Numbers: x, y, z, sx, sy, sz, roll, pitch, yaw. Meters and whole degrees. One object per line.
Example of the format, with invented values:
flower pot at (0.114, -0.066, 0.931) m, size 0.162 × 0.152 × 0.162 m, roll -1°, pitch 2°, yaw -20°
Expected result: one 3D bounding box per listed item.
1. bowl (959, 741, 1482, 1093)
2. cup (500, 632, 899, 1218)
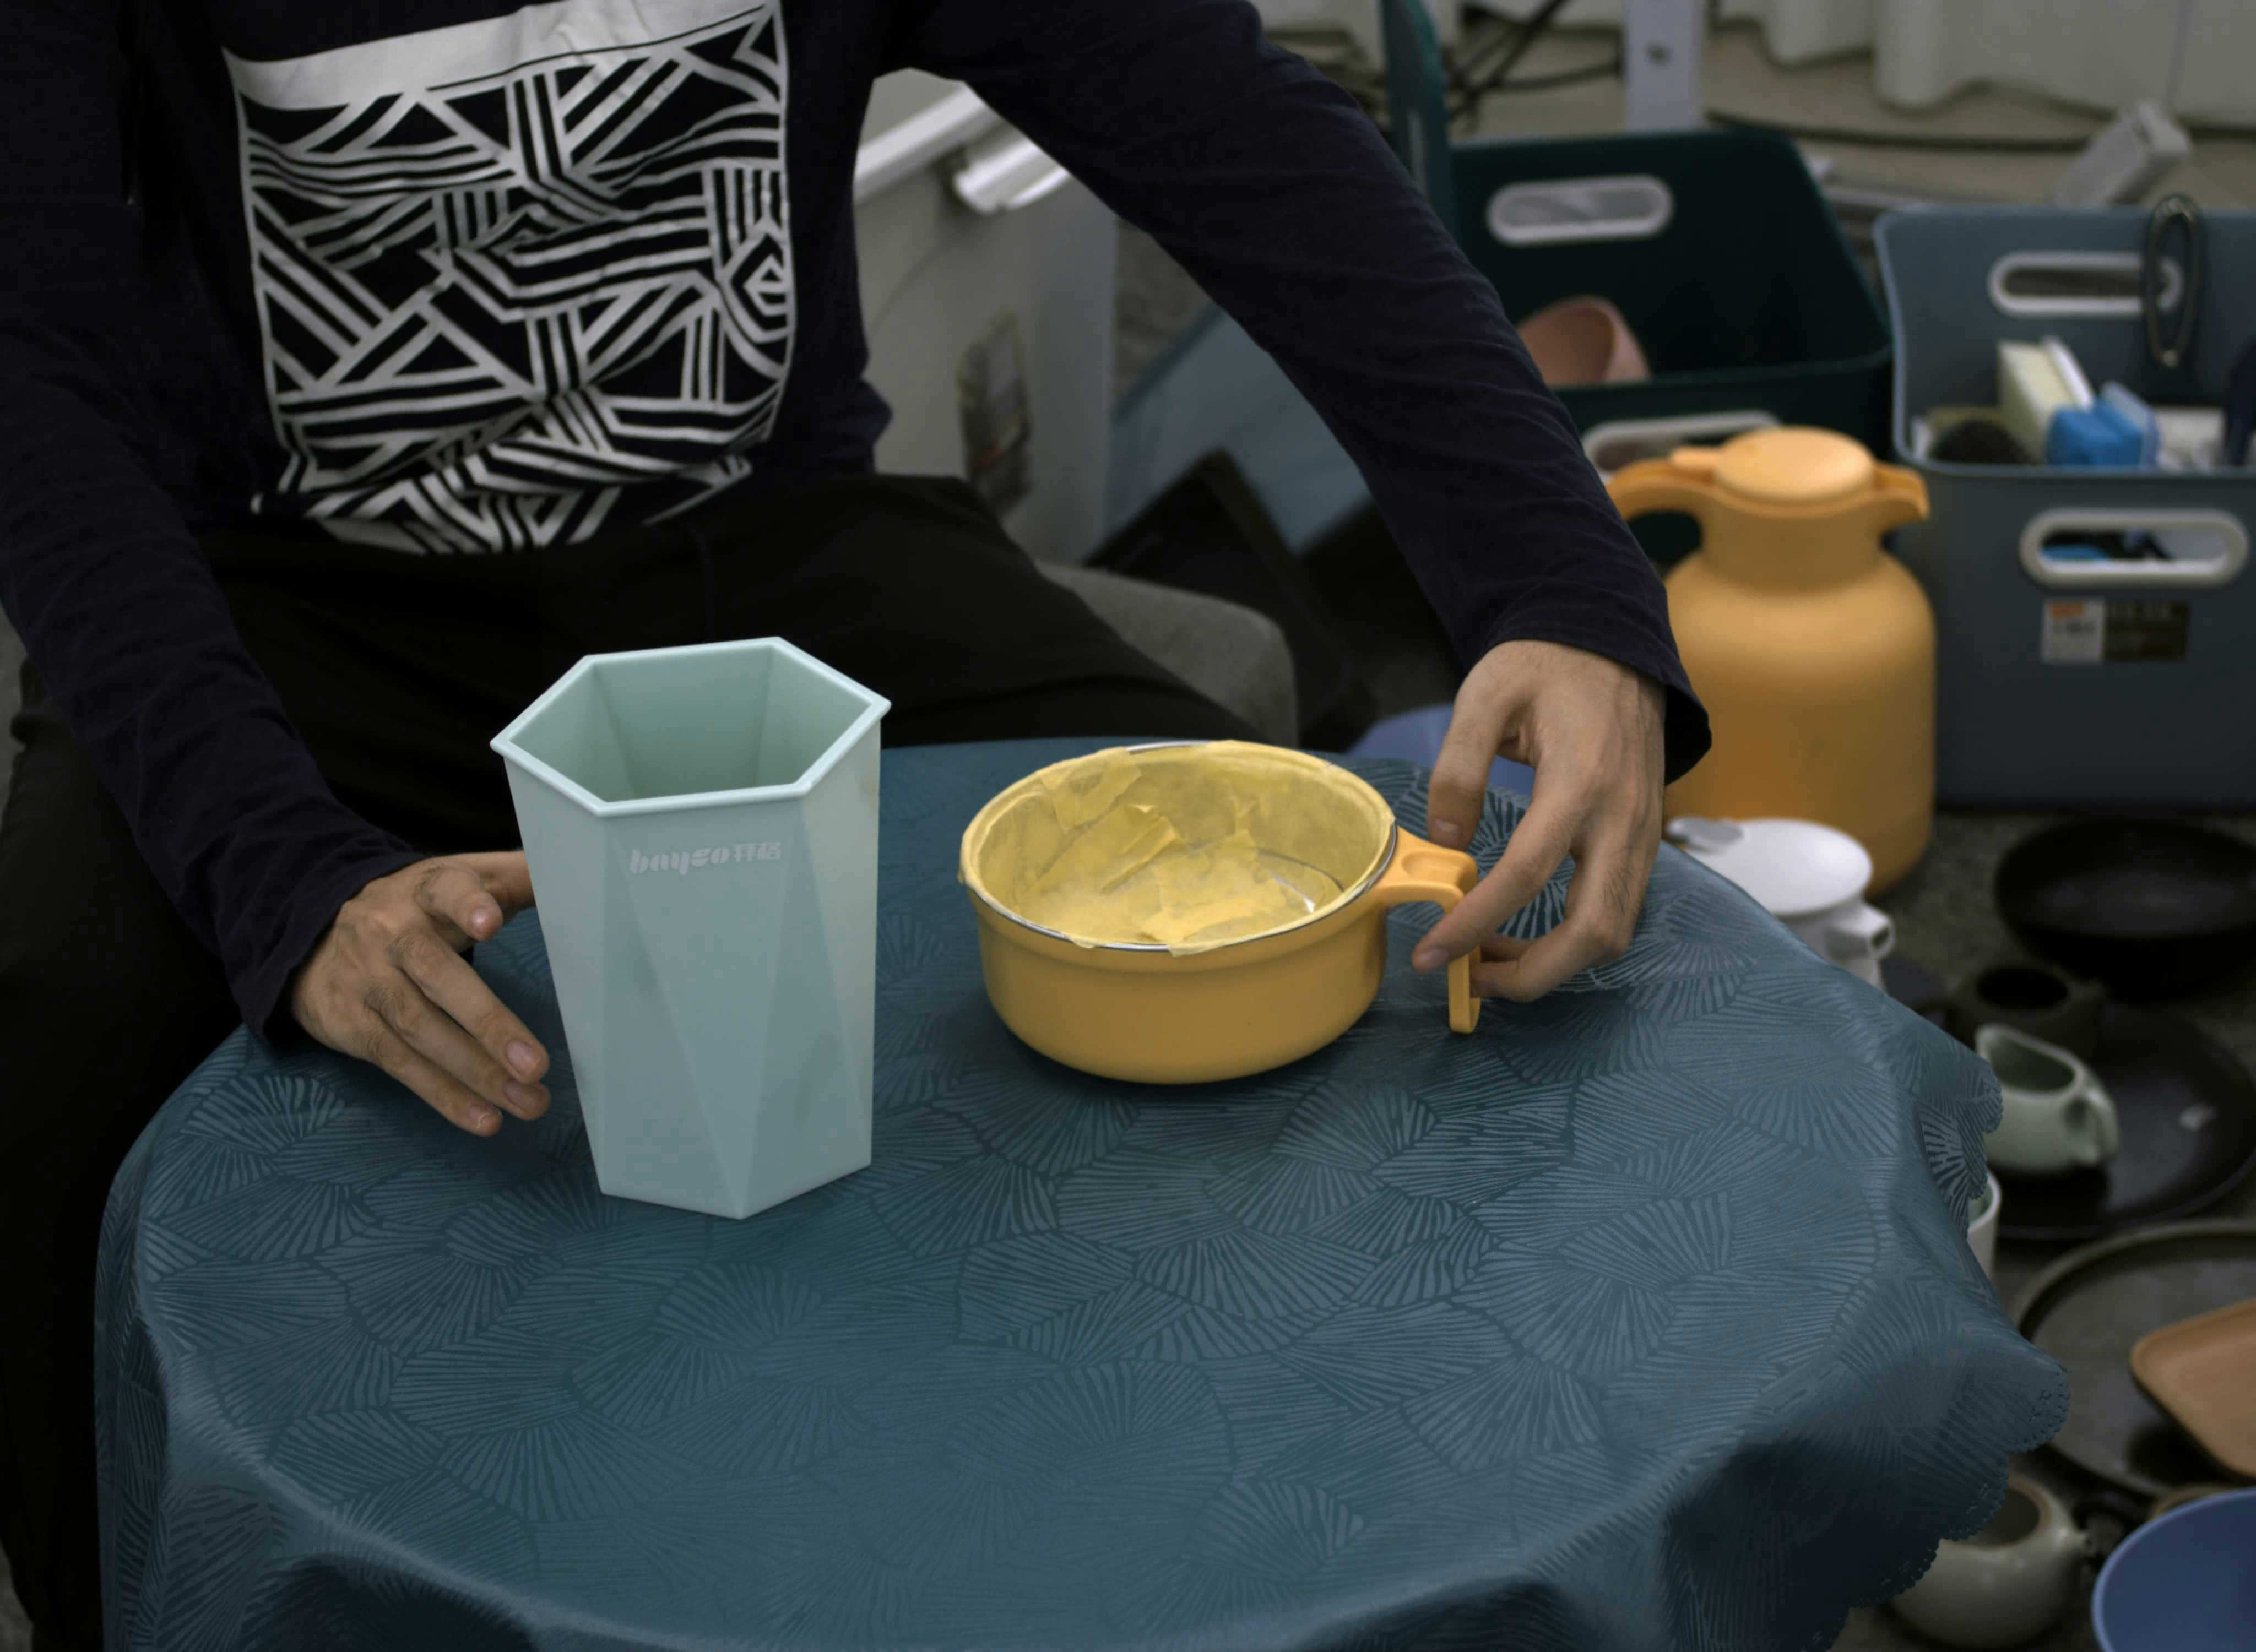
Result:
bowl at (0.033, 0.036, 1.951) m, size 0.178 × 0.073 × 0.155 m, roll 1°, pitch 26°, yaw 10°
cup at (-0.136, 0.035, 1.863) m, size 0.131 × 0.161 × 0.116 m, roll -6°, pitch 25°, yaw -7°
